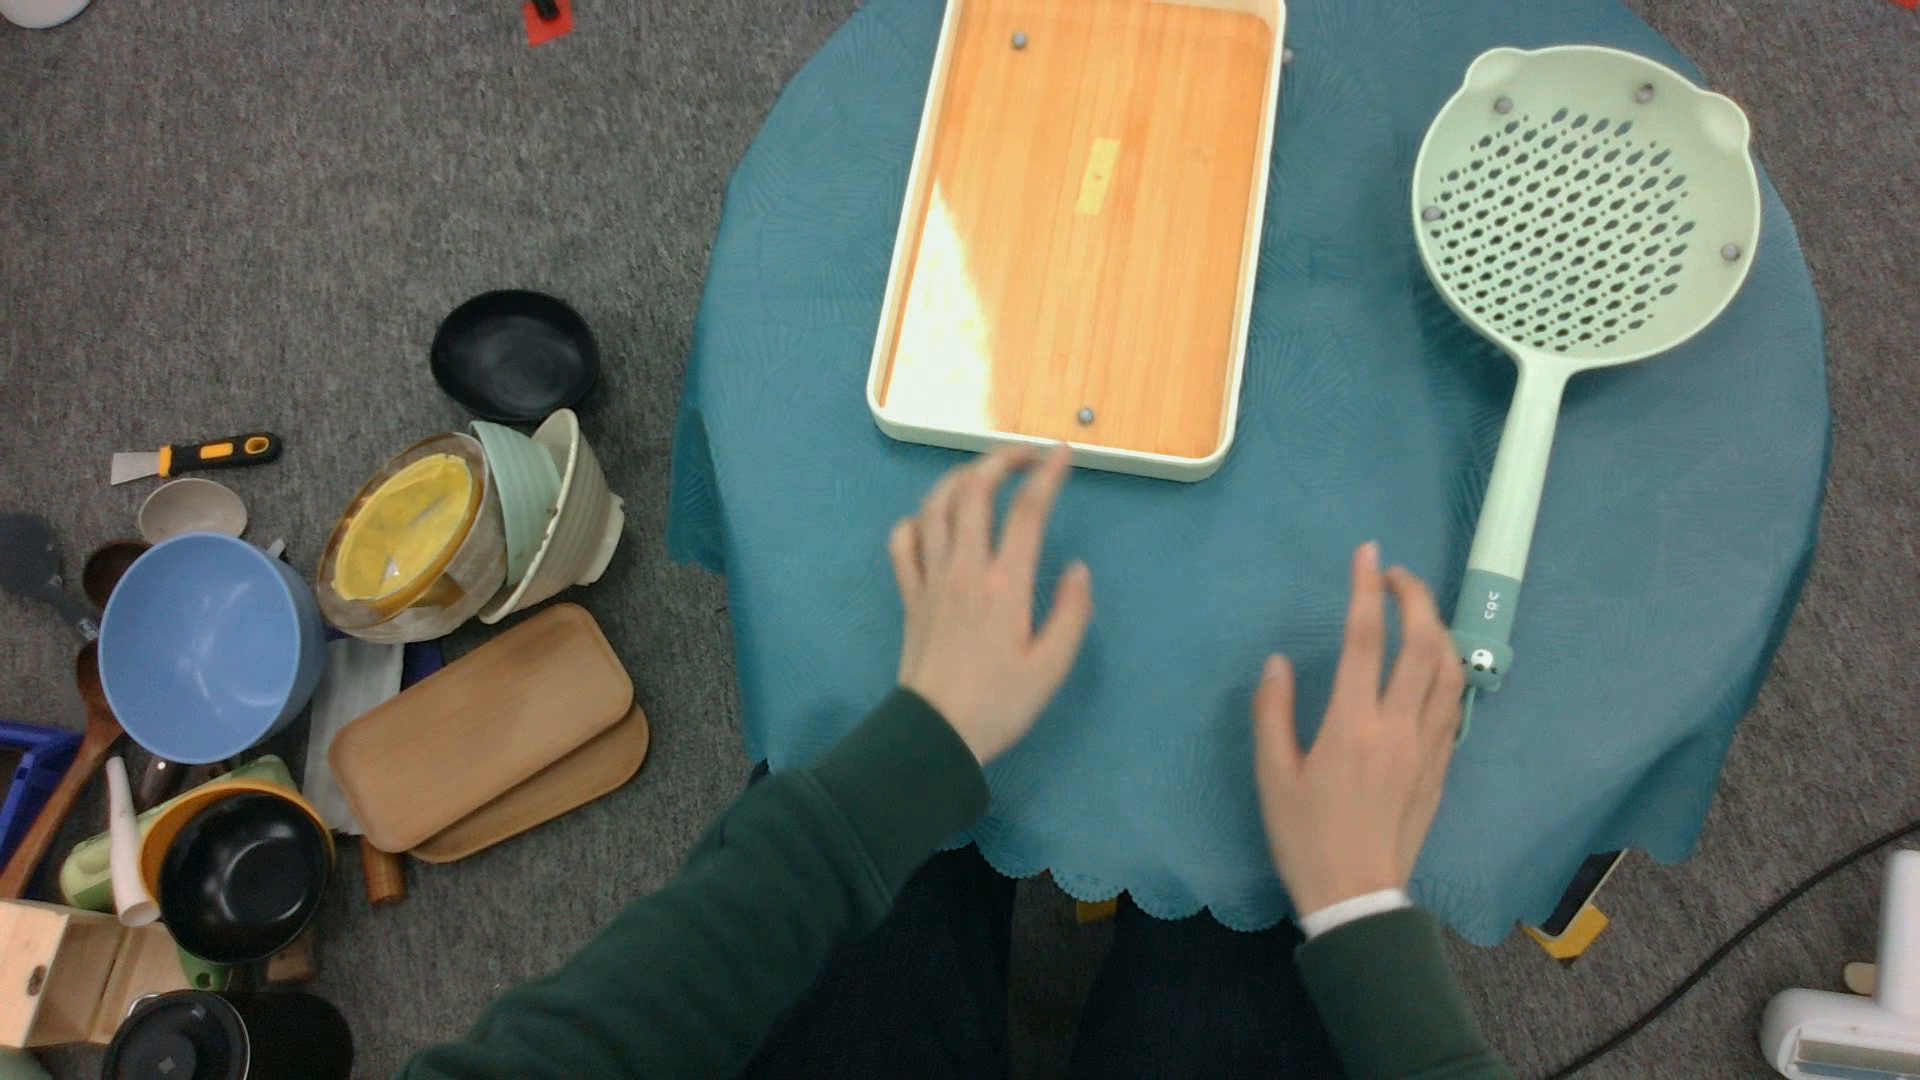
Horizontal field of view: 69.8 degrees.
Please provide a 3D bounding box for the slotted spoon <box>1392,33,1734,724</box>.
[{"bbox_3d":[0.278,-0.085,0.690,0.169,0.075,0.360,15,72,7],"label":"slotted spoon"}]

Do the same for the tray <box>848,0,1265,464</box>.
[{"bbox_3d":[0.058,-0.193,0.754,0.191,0.027,0.301,9,71,5],"label":"tray"}]
